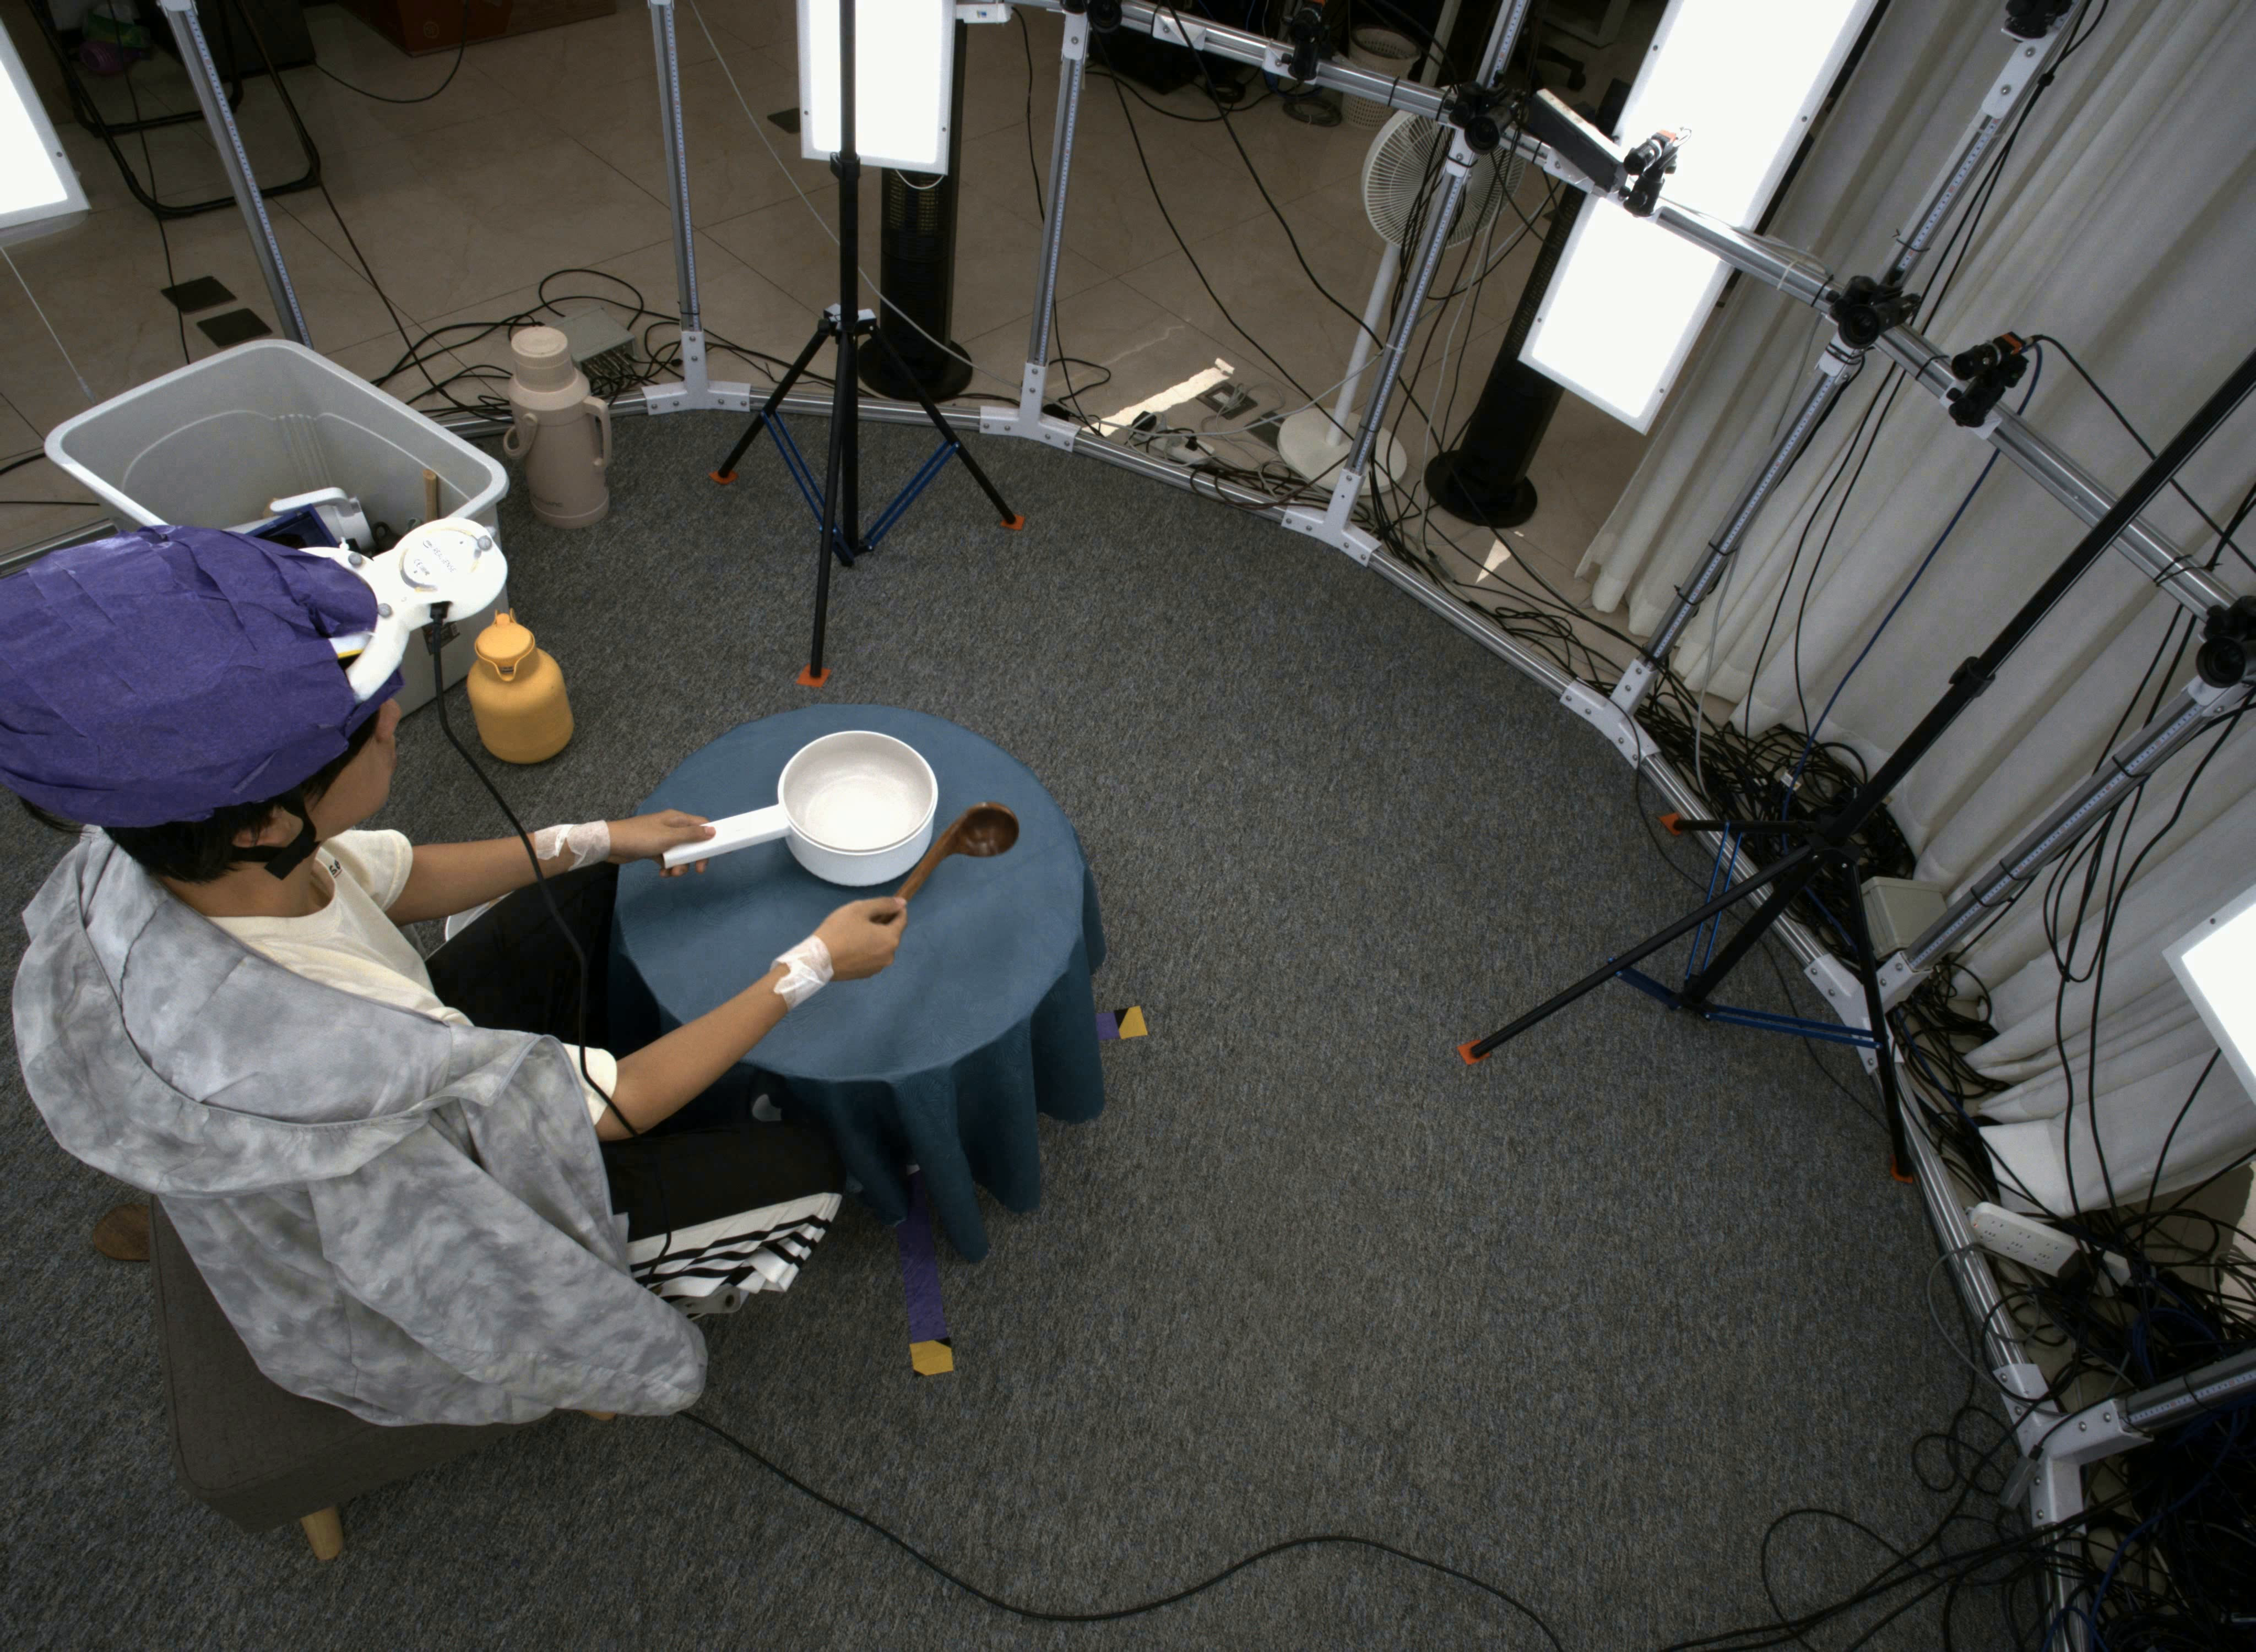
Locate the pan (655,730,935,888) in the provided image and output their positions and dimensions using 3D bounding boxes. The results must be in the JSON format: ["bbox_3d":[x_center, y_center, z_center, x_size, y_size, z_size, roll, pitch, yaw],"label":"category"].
[{"bbox_3d":[-0.420,0.003,1.661,0.356,0.104,0.196,-17,60,-24],"label":"pan"}]

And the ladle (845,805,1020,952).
[{"bbox_3d":[-0.221,0.067,1.527,0.074,0.084,0.273,16,41,21],"label":"ladle"}]
